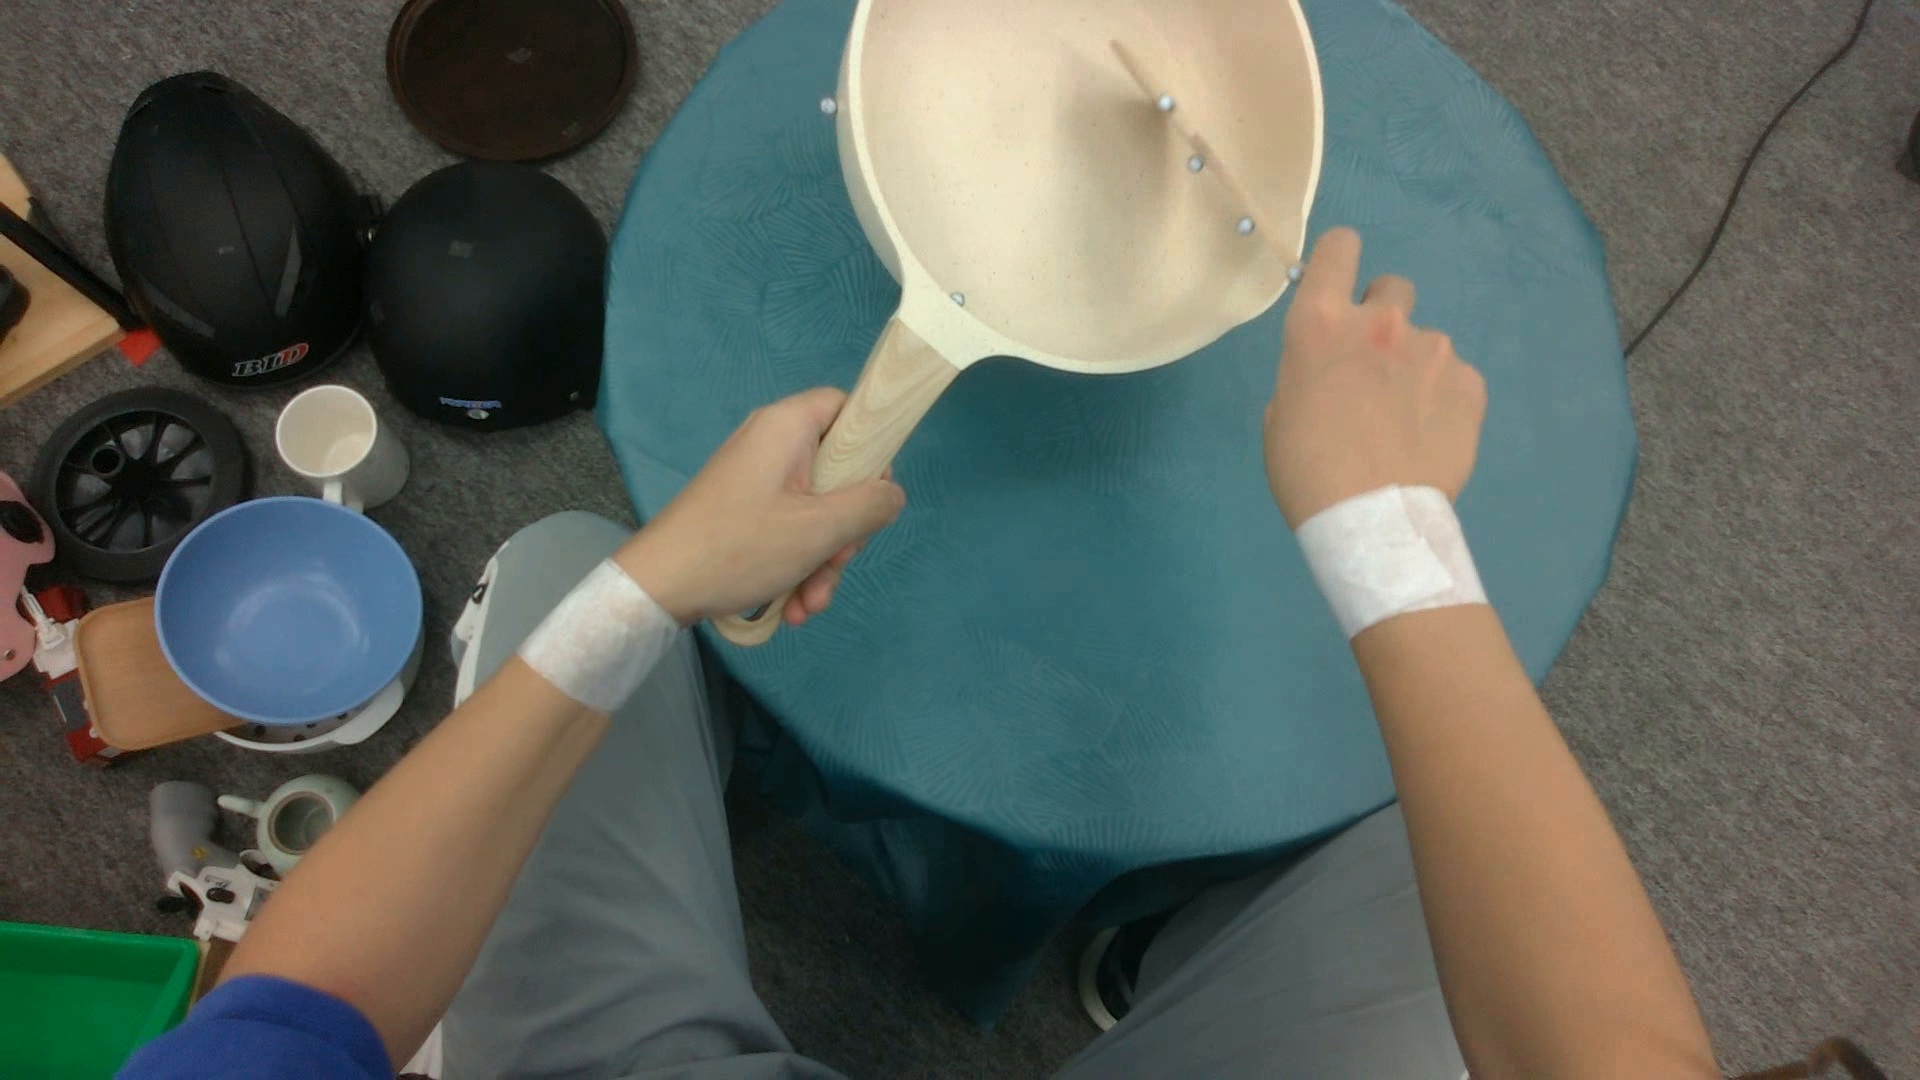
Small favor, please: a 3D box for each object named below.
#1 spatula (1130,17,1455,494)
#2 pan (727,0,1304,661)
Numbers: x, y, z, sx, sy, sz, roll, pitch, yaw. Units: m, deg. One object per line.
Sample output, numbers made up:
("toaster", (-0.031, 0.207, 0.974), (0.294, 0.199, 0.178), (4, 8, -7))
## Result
("spatula", (0.158, -0.142, 0.666), (0.010, 0.072, 0.293), (-32, 64, 13))
("pan", (0.002, -0.135, 0.689), (0.263, 0.102, 0.435), (36, 81, -20))
